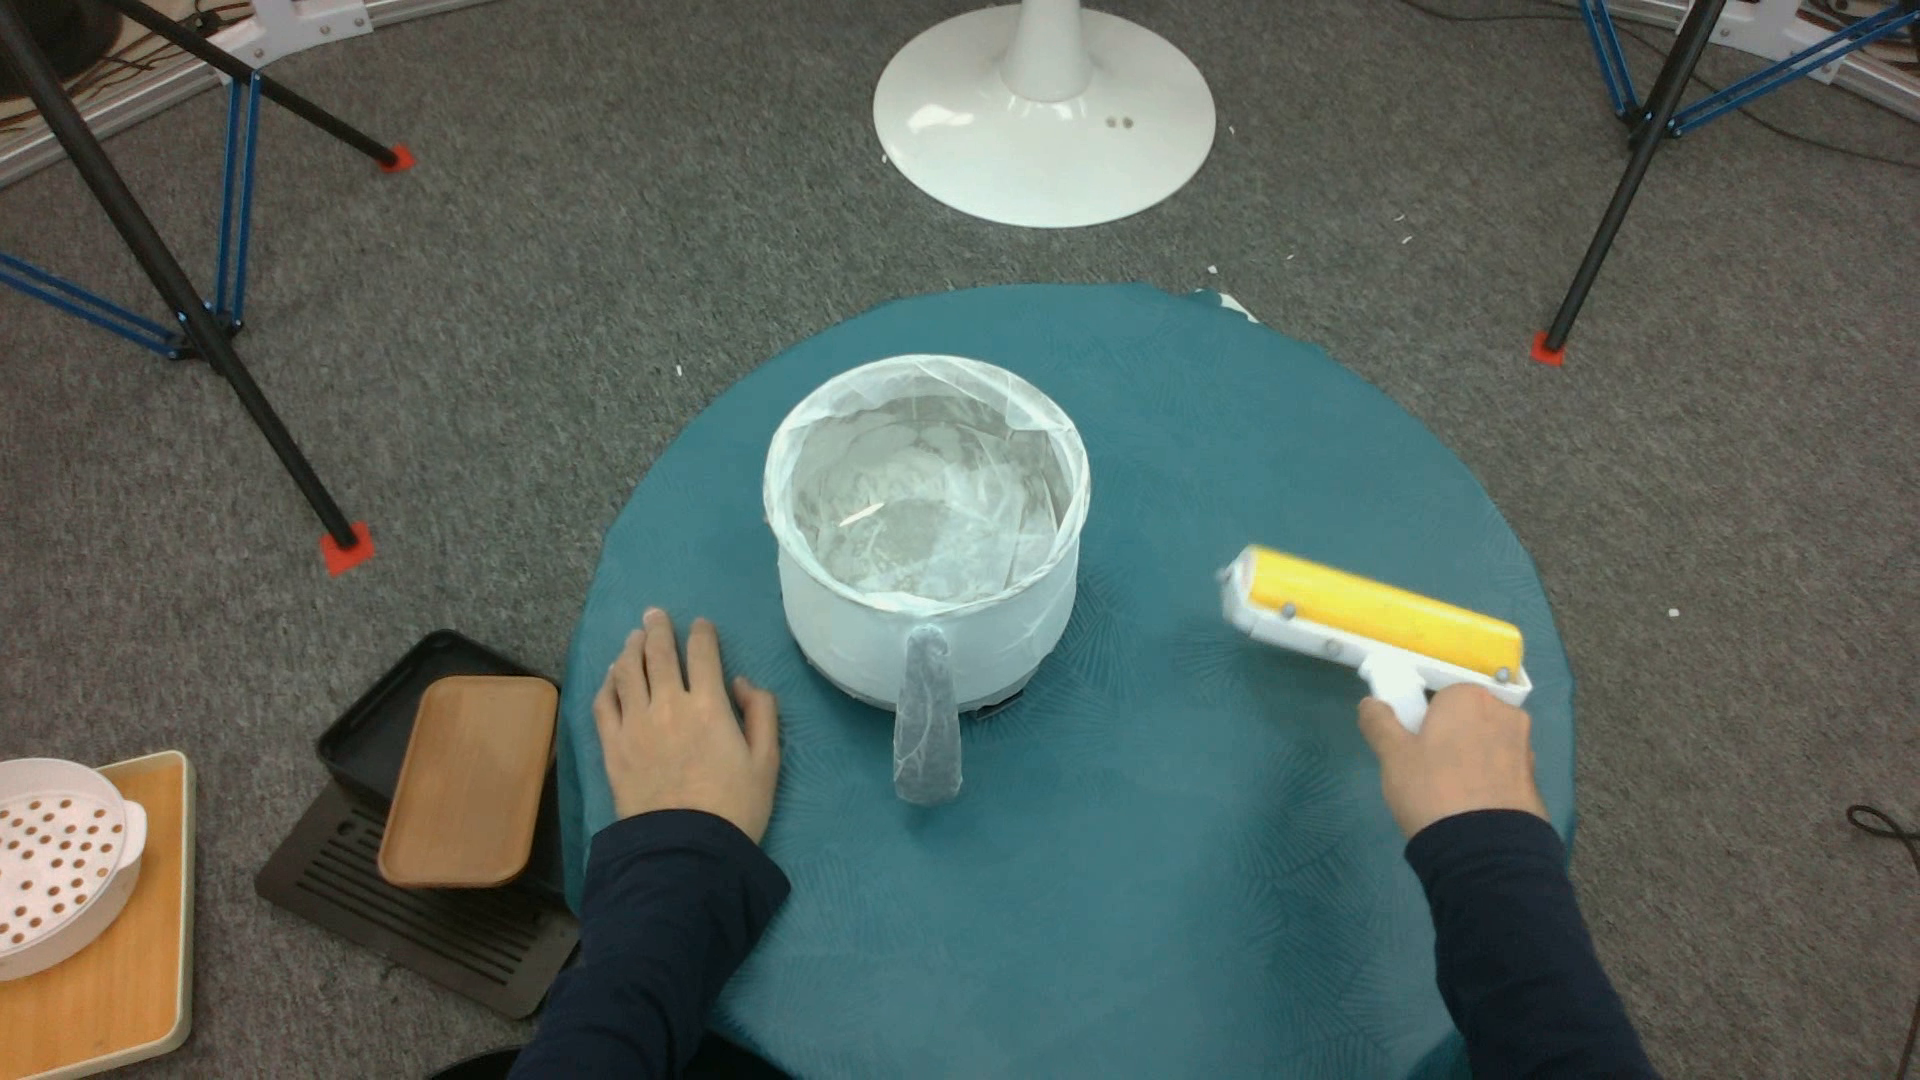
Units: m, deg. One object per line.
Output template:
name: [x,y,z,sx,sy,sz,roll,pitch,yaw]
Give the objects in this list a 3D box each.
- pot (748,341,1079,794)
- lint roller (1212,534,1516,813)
pot: [-0.024,0.017,0.773,0.179,0.136,0.234,-2,54,-2]
lint roller: [0.231,0.070,0.728,0.174,0.051,0.192,16,21,-8]
